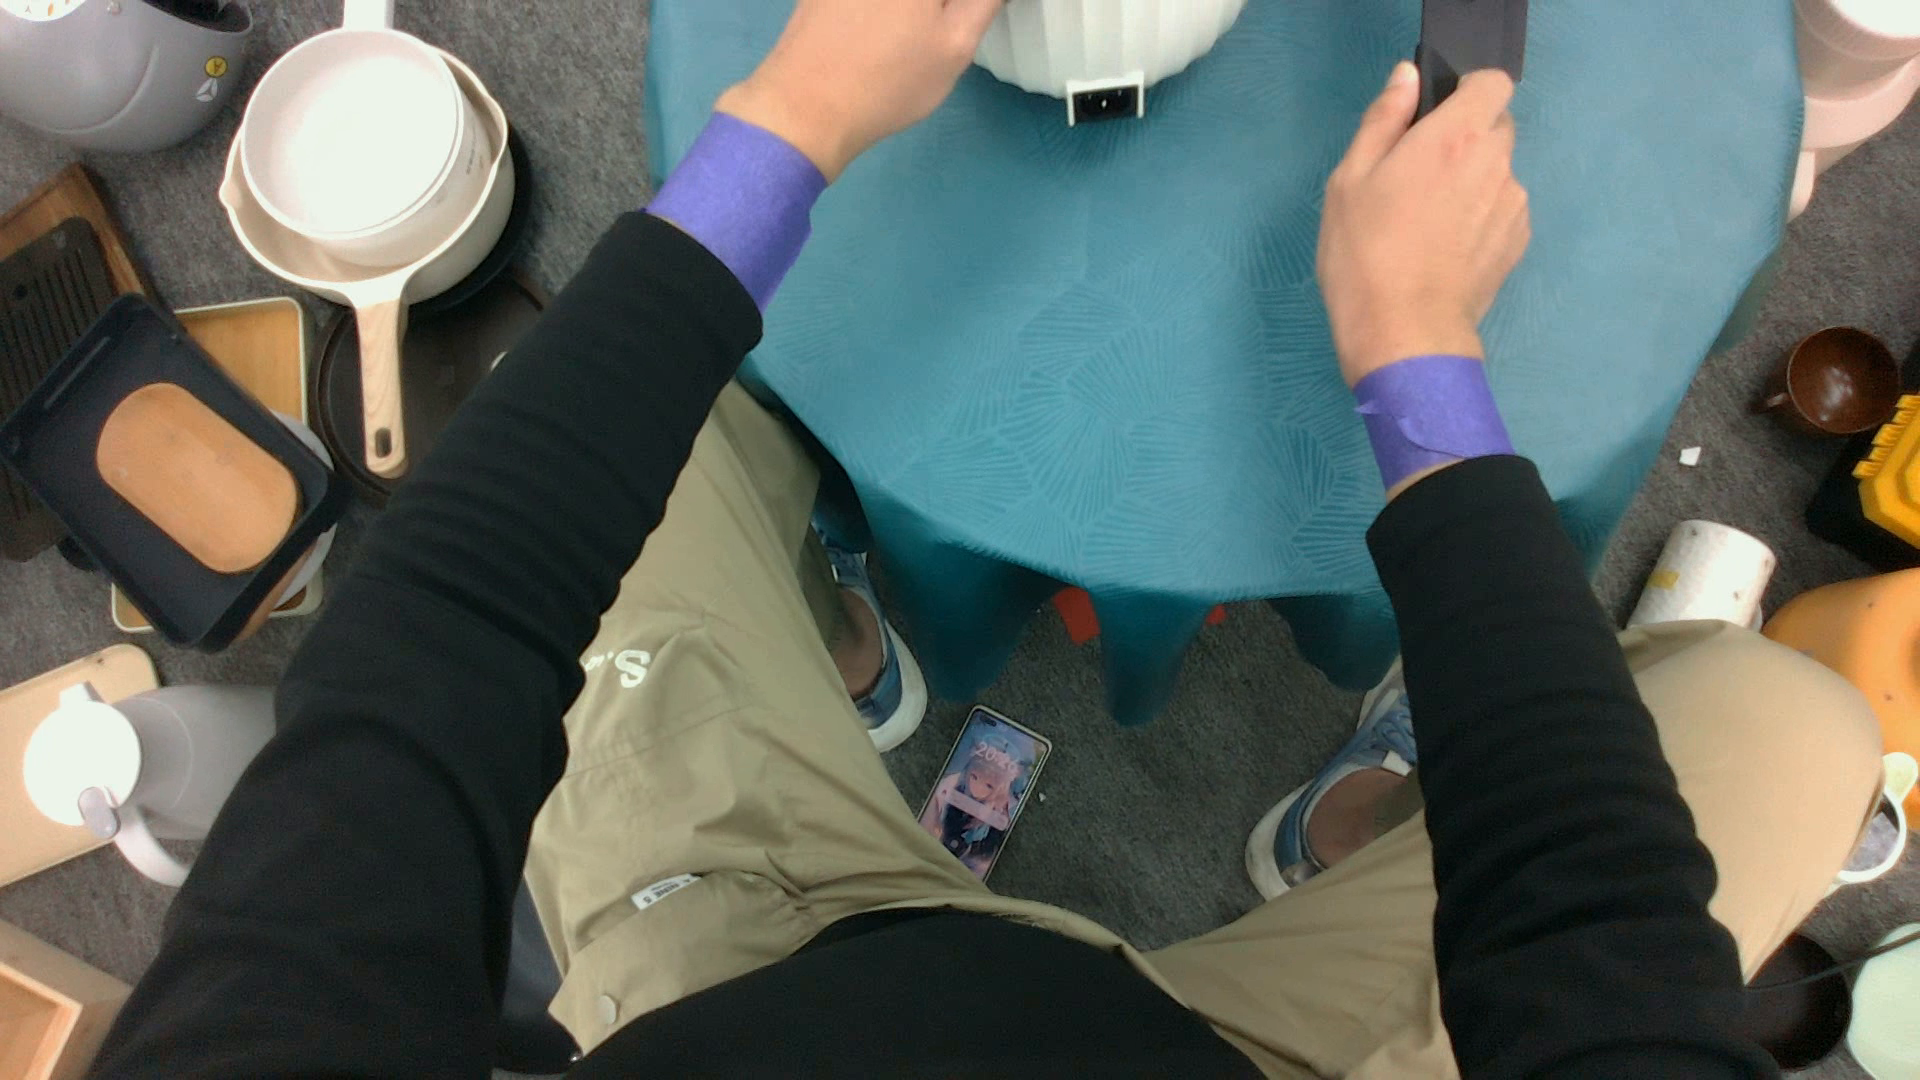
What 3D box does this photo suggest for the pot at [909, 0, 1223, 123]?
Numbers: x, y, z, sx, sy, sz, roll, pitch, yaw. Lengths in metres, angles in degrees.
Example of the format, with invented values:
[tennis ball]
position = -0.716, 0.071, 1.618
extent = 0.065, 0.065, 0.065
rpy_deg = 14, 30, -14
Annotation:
[pot]
position = 0.050, -0.320, 0.669
extent = 0.240, 0.142, 0.191
rpy_deg = -5, 72, 2

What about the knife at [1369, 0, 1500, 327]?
[knife]
position = 0.227, -0.254, 0.659
extent = 0.081, 0.021, 0.302
rpy_deg = 4, 91, -23
